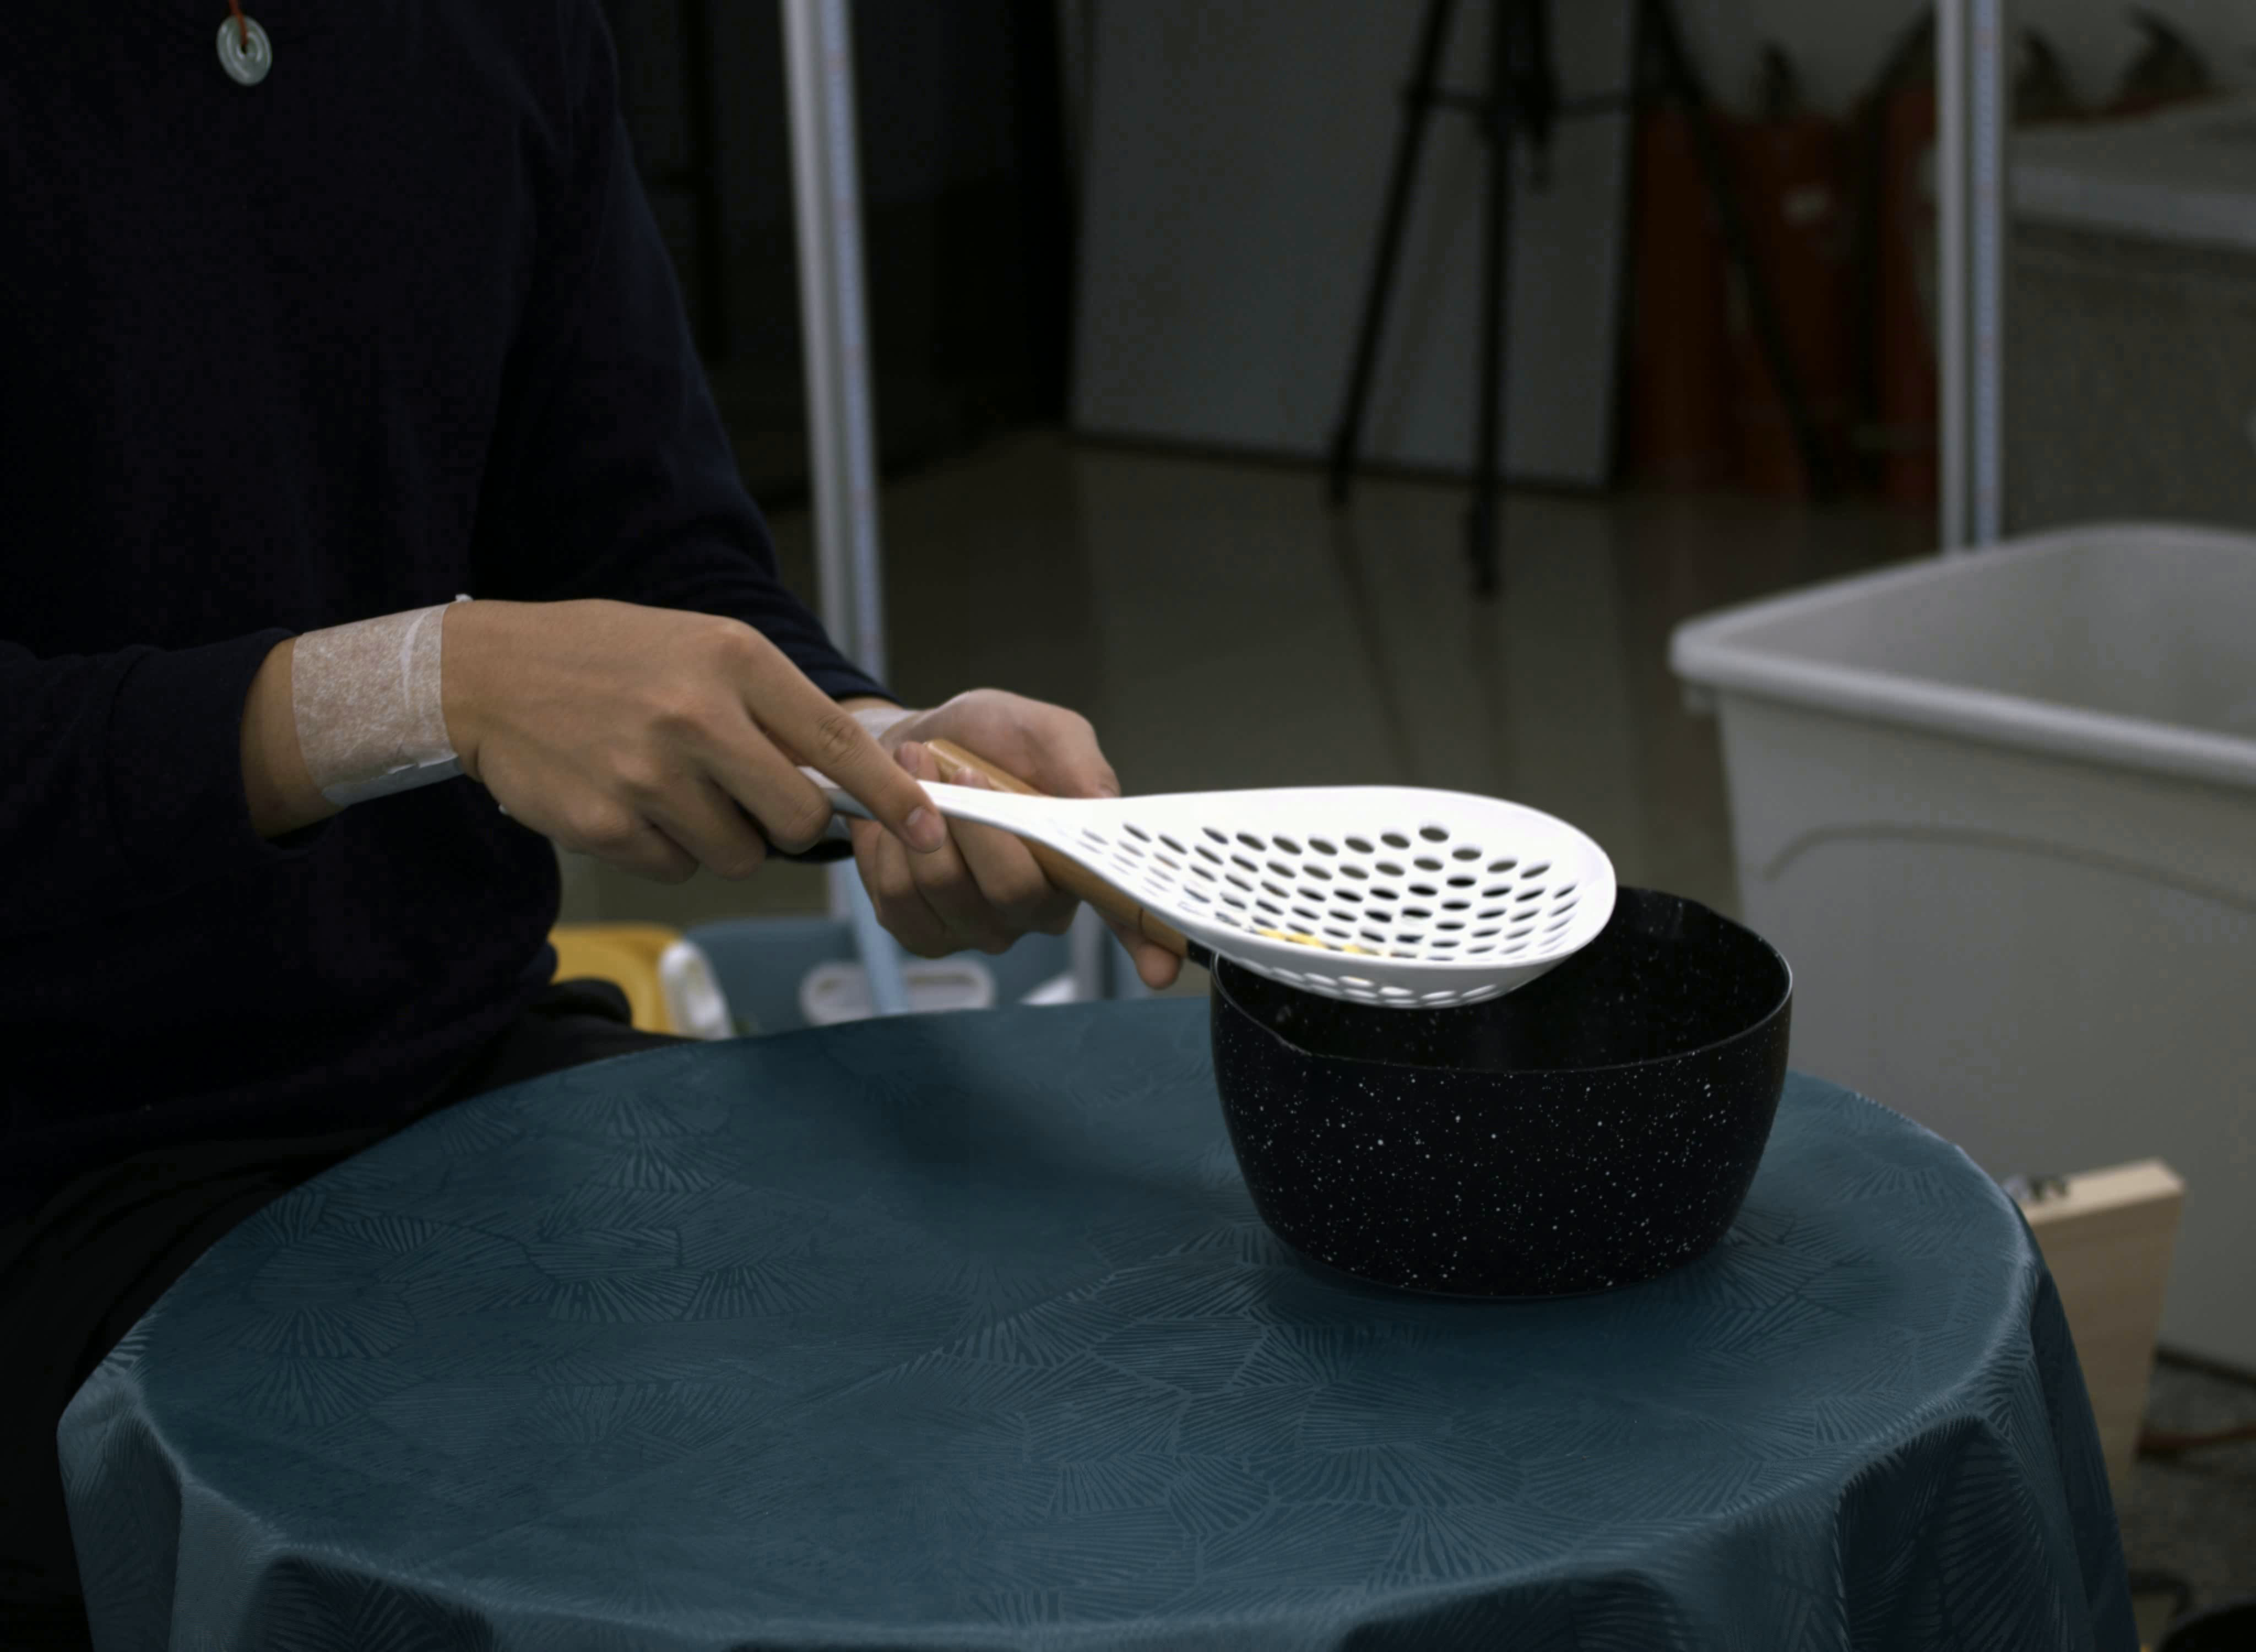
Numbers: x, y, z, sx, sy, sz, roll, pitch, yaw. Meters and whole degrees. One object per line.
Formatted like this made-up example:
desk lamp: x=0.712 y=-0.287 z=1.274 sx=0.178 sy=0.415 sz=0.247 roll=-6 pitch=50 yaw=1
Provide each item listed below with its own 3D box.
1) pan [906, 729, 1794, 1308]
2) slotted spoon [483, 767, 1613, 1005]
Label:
pan: x=0.056 y=0.056 z=1.739 sx=0.345 sy=0.109 sz=0.203 roll=16 pitch=25 yaw=38
slotted spoon: x=-0.027 y=0.006 z=1.626 sx=0.346 sy=0.051 sz=0.136 roll=12 pitch=24 yaw=11
